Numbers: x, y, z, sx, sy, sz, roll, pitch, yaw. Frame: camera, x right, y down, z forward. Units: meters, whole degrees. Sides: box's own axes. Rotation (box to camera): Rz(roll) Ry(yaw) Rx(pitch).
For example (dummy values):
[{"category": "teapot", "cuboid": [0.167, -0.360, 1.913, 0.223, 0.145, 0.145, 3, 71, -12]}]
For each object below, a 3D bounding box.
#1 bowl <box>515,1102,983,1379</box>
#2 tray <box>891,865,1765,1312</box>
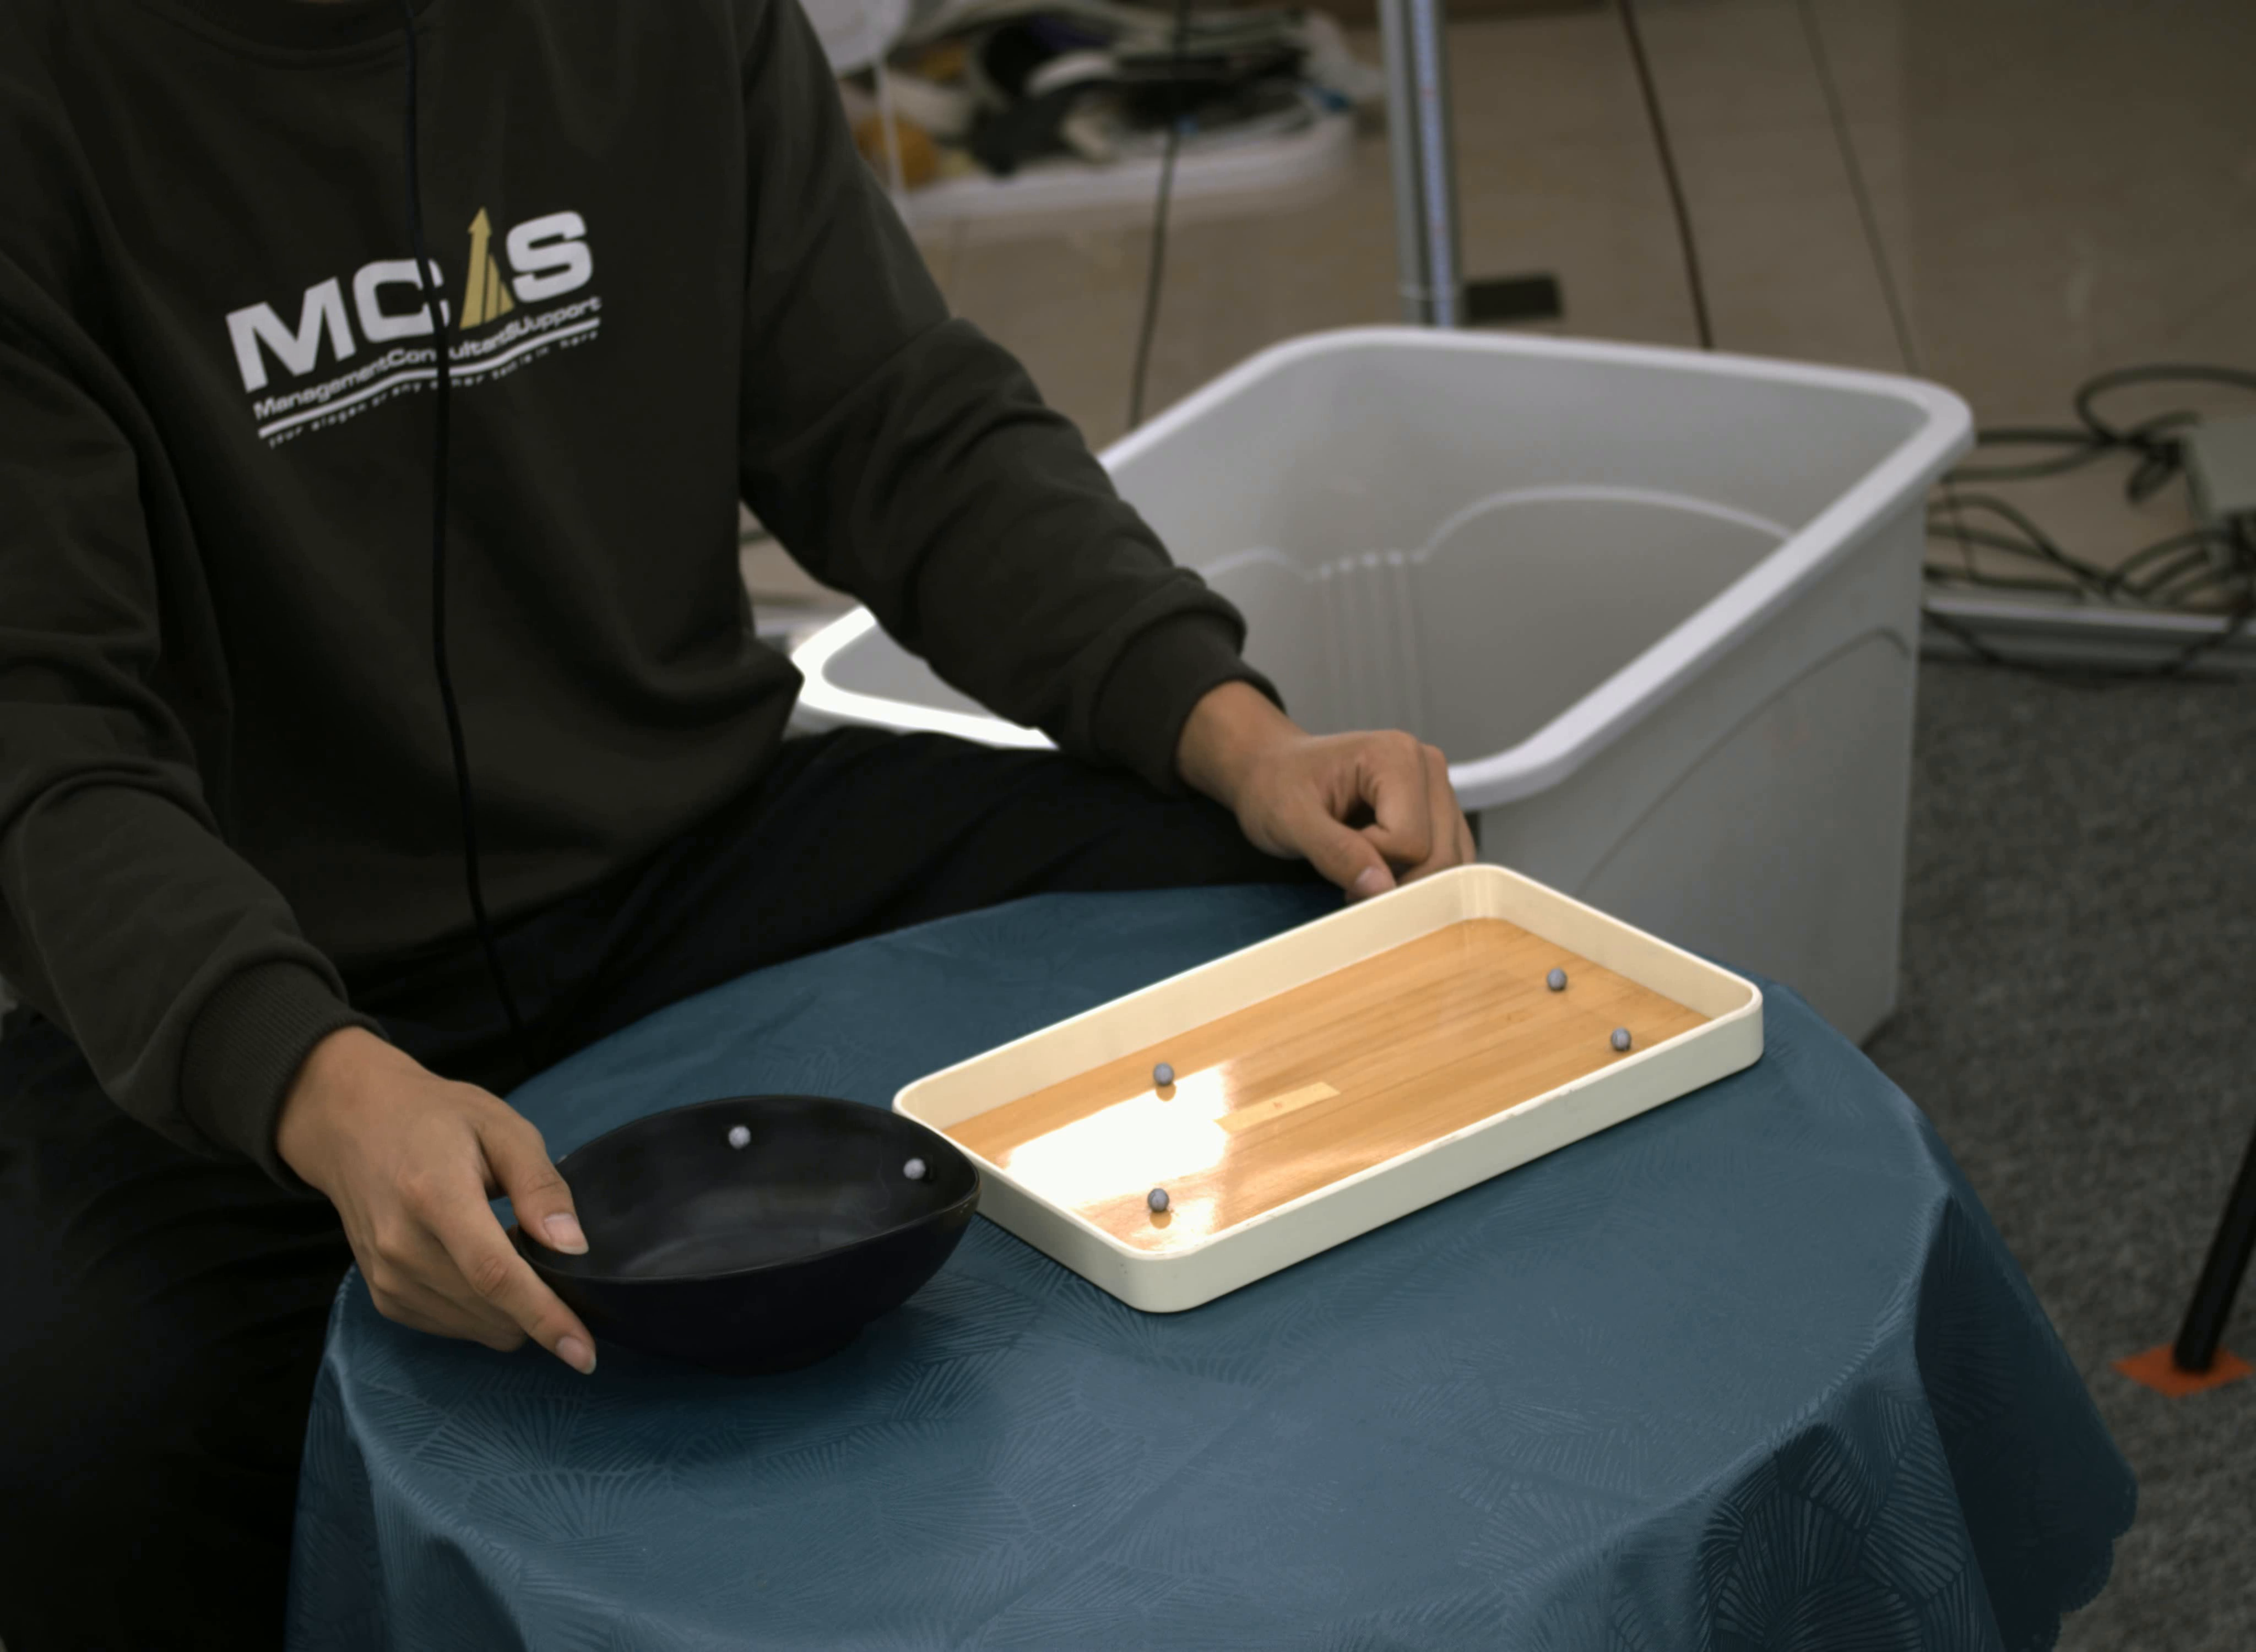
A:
[{"category": "bowl", "cuboid": [-0.136, 0.157, 2.066, 0.170, 0.068, 0.135, -10, 26, -12]}, {"category": "tray", "cuboid": [0.078, 0.097, 2.187, 0.298, 0.028, 0.190, -21, 28, -29]}]
